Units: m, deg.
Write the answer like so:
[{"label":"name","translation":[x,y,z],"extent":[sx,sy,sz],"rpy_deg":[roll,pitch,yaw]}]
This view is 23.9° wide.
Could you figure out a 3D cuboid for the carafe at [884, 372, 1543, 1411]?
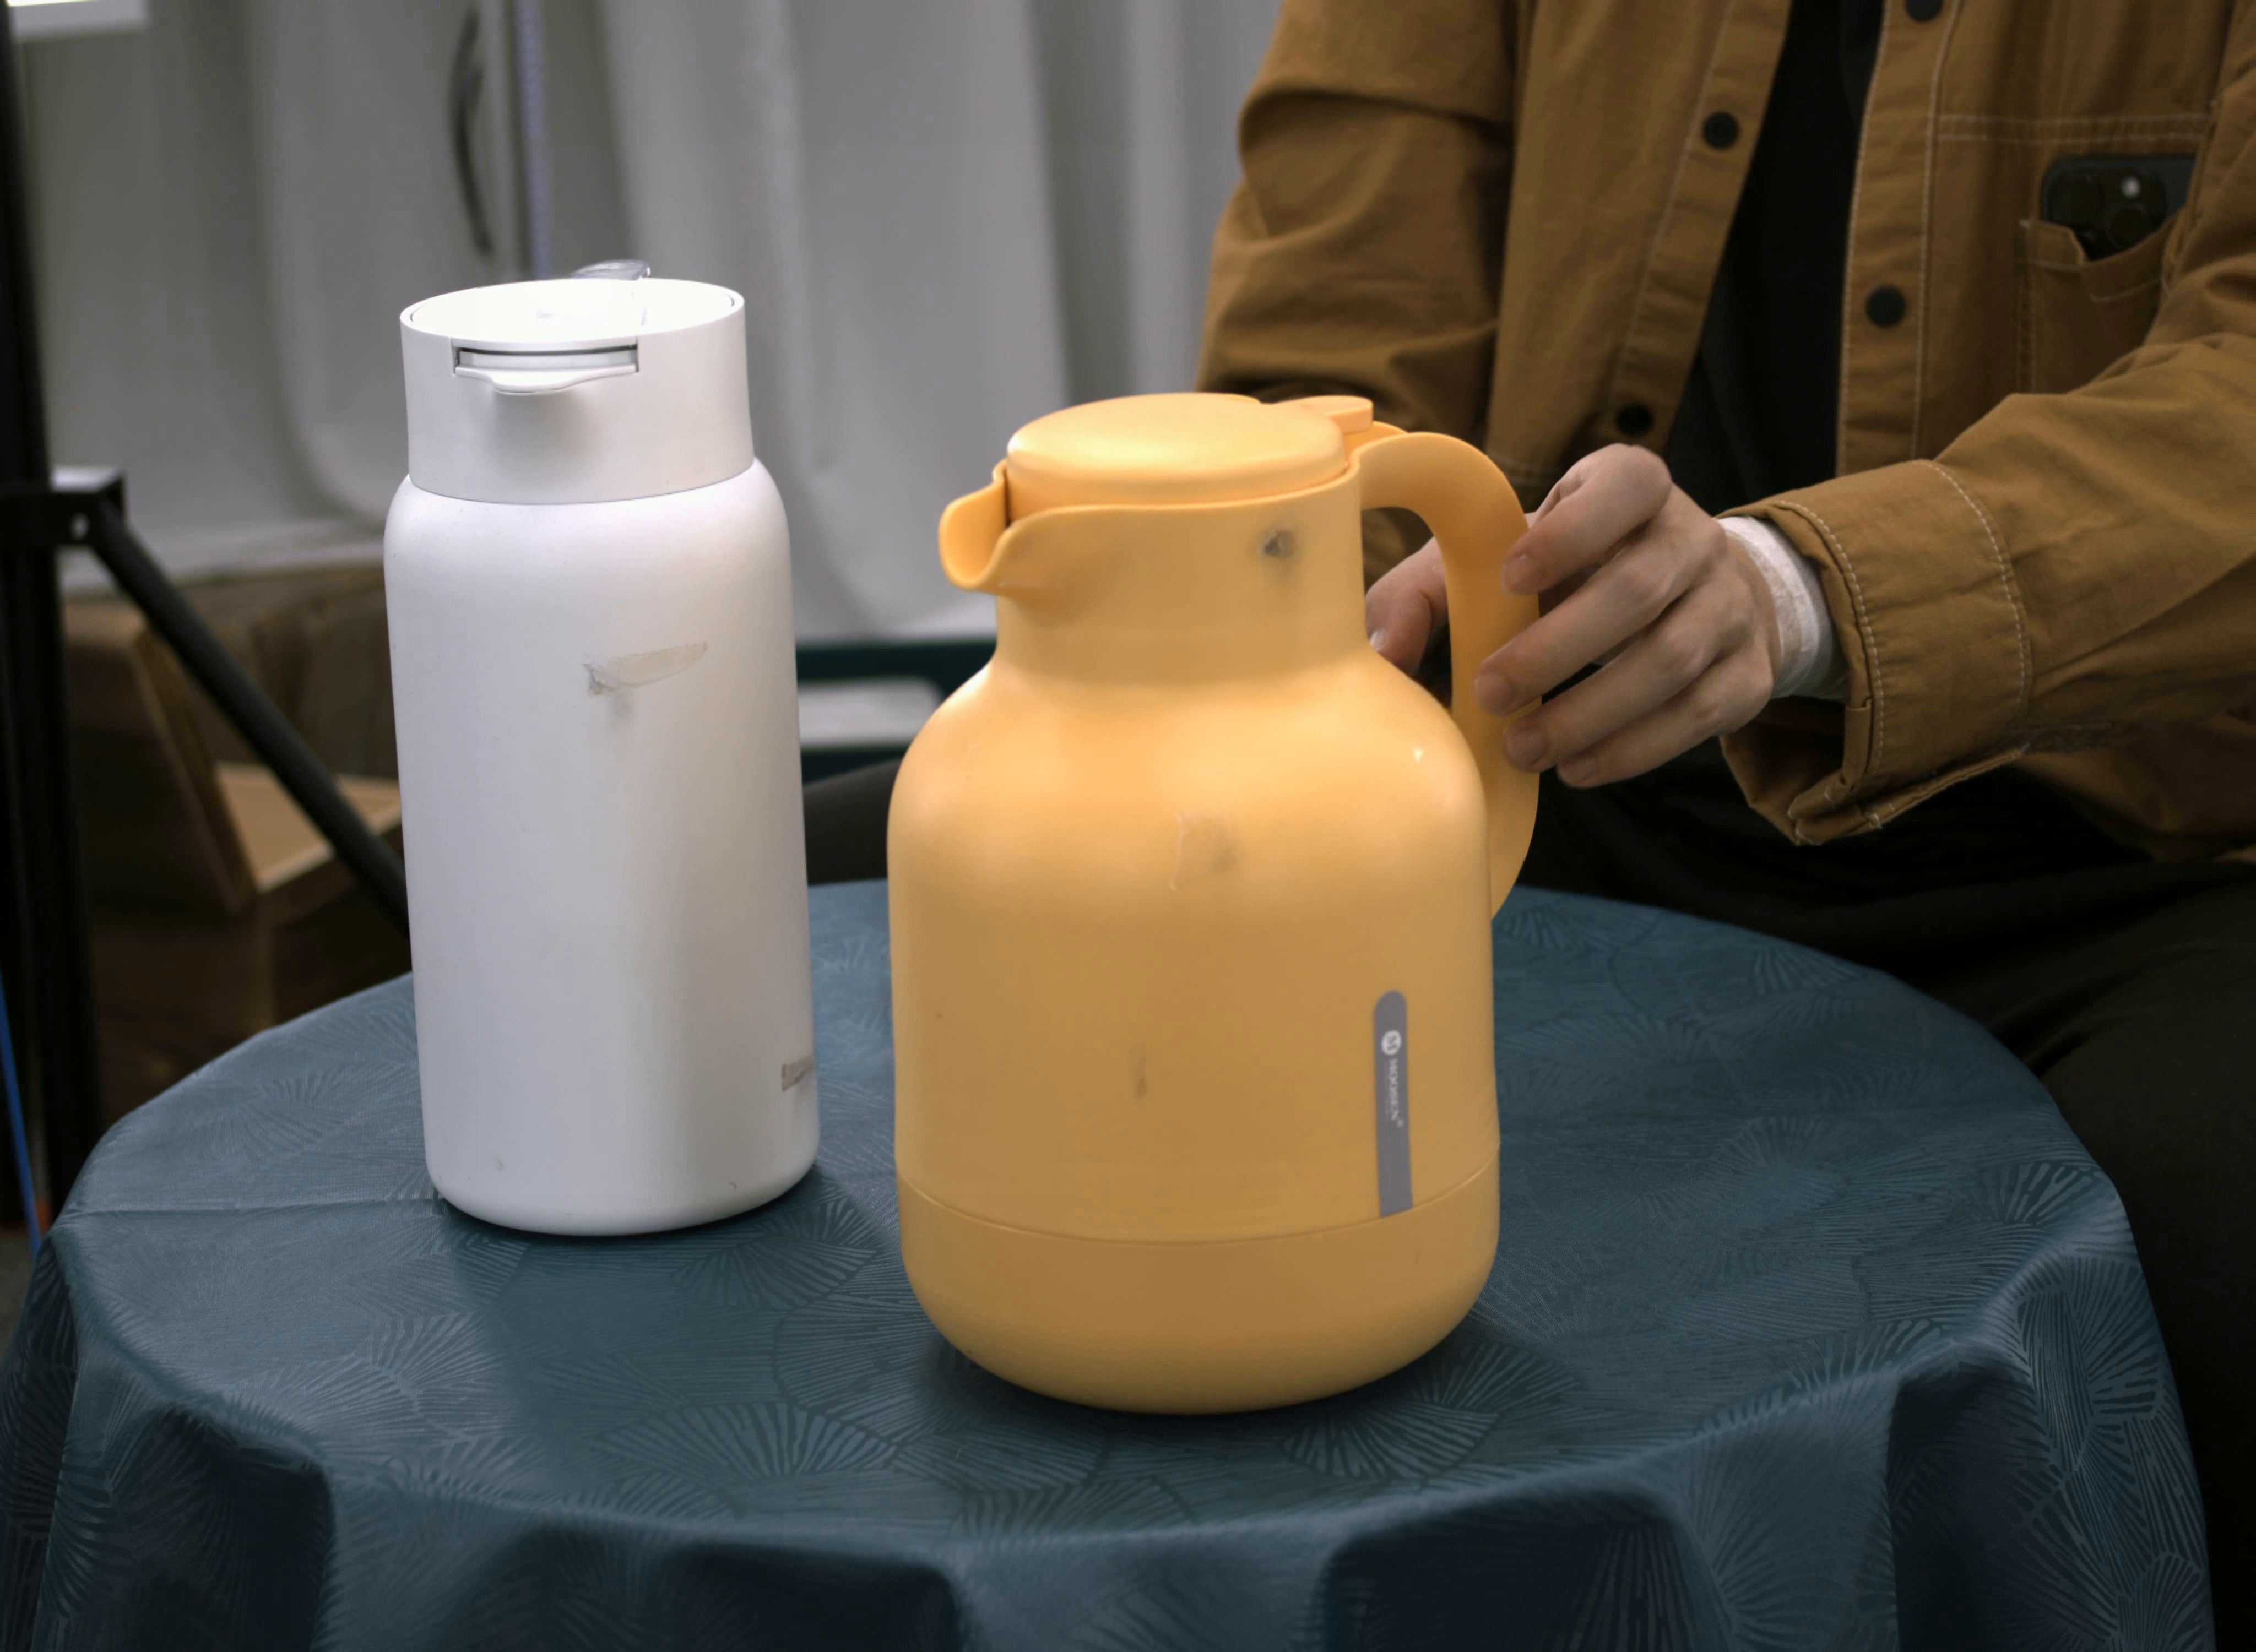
[{"label":"carafe","translation":[0.032,0.010,1.414],"extent":[0.198,0.260,0.167],"rpy_deg":[-15,23,-35]}]

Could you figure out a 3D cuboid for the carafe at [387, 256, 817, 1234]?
[{"label":"carafe","translation":[-0.153,-0.028,1.571],"extent":[0.124,0.269,0.172],"rpy_deg":[-2,15,7]}]
